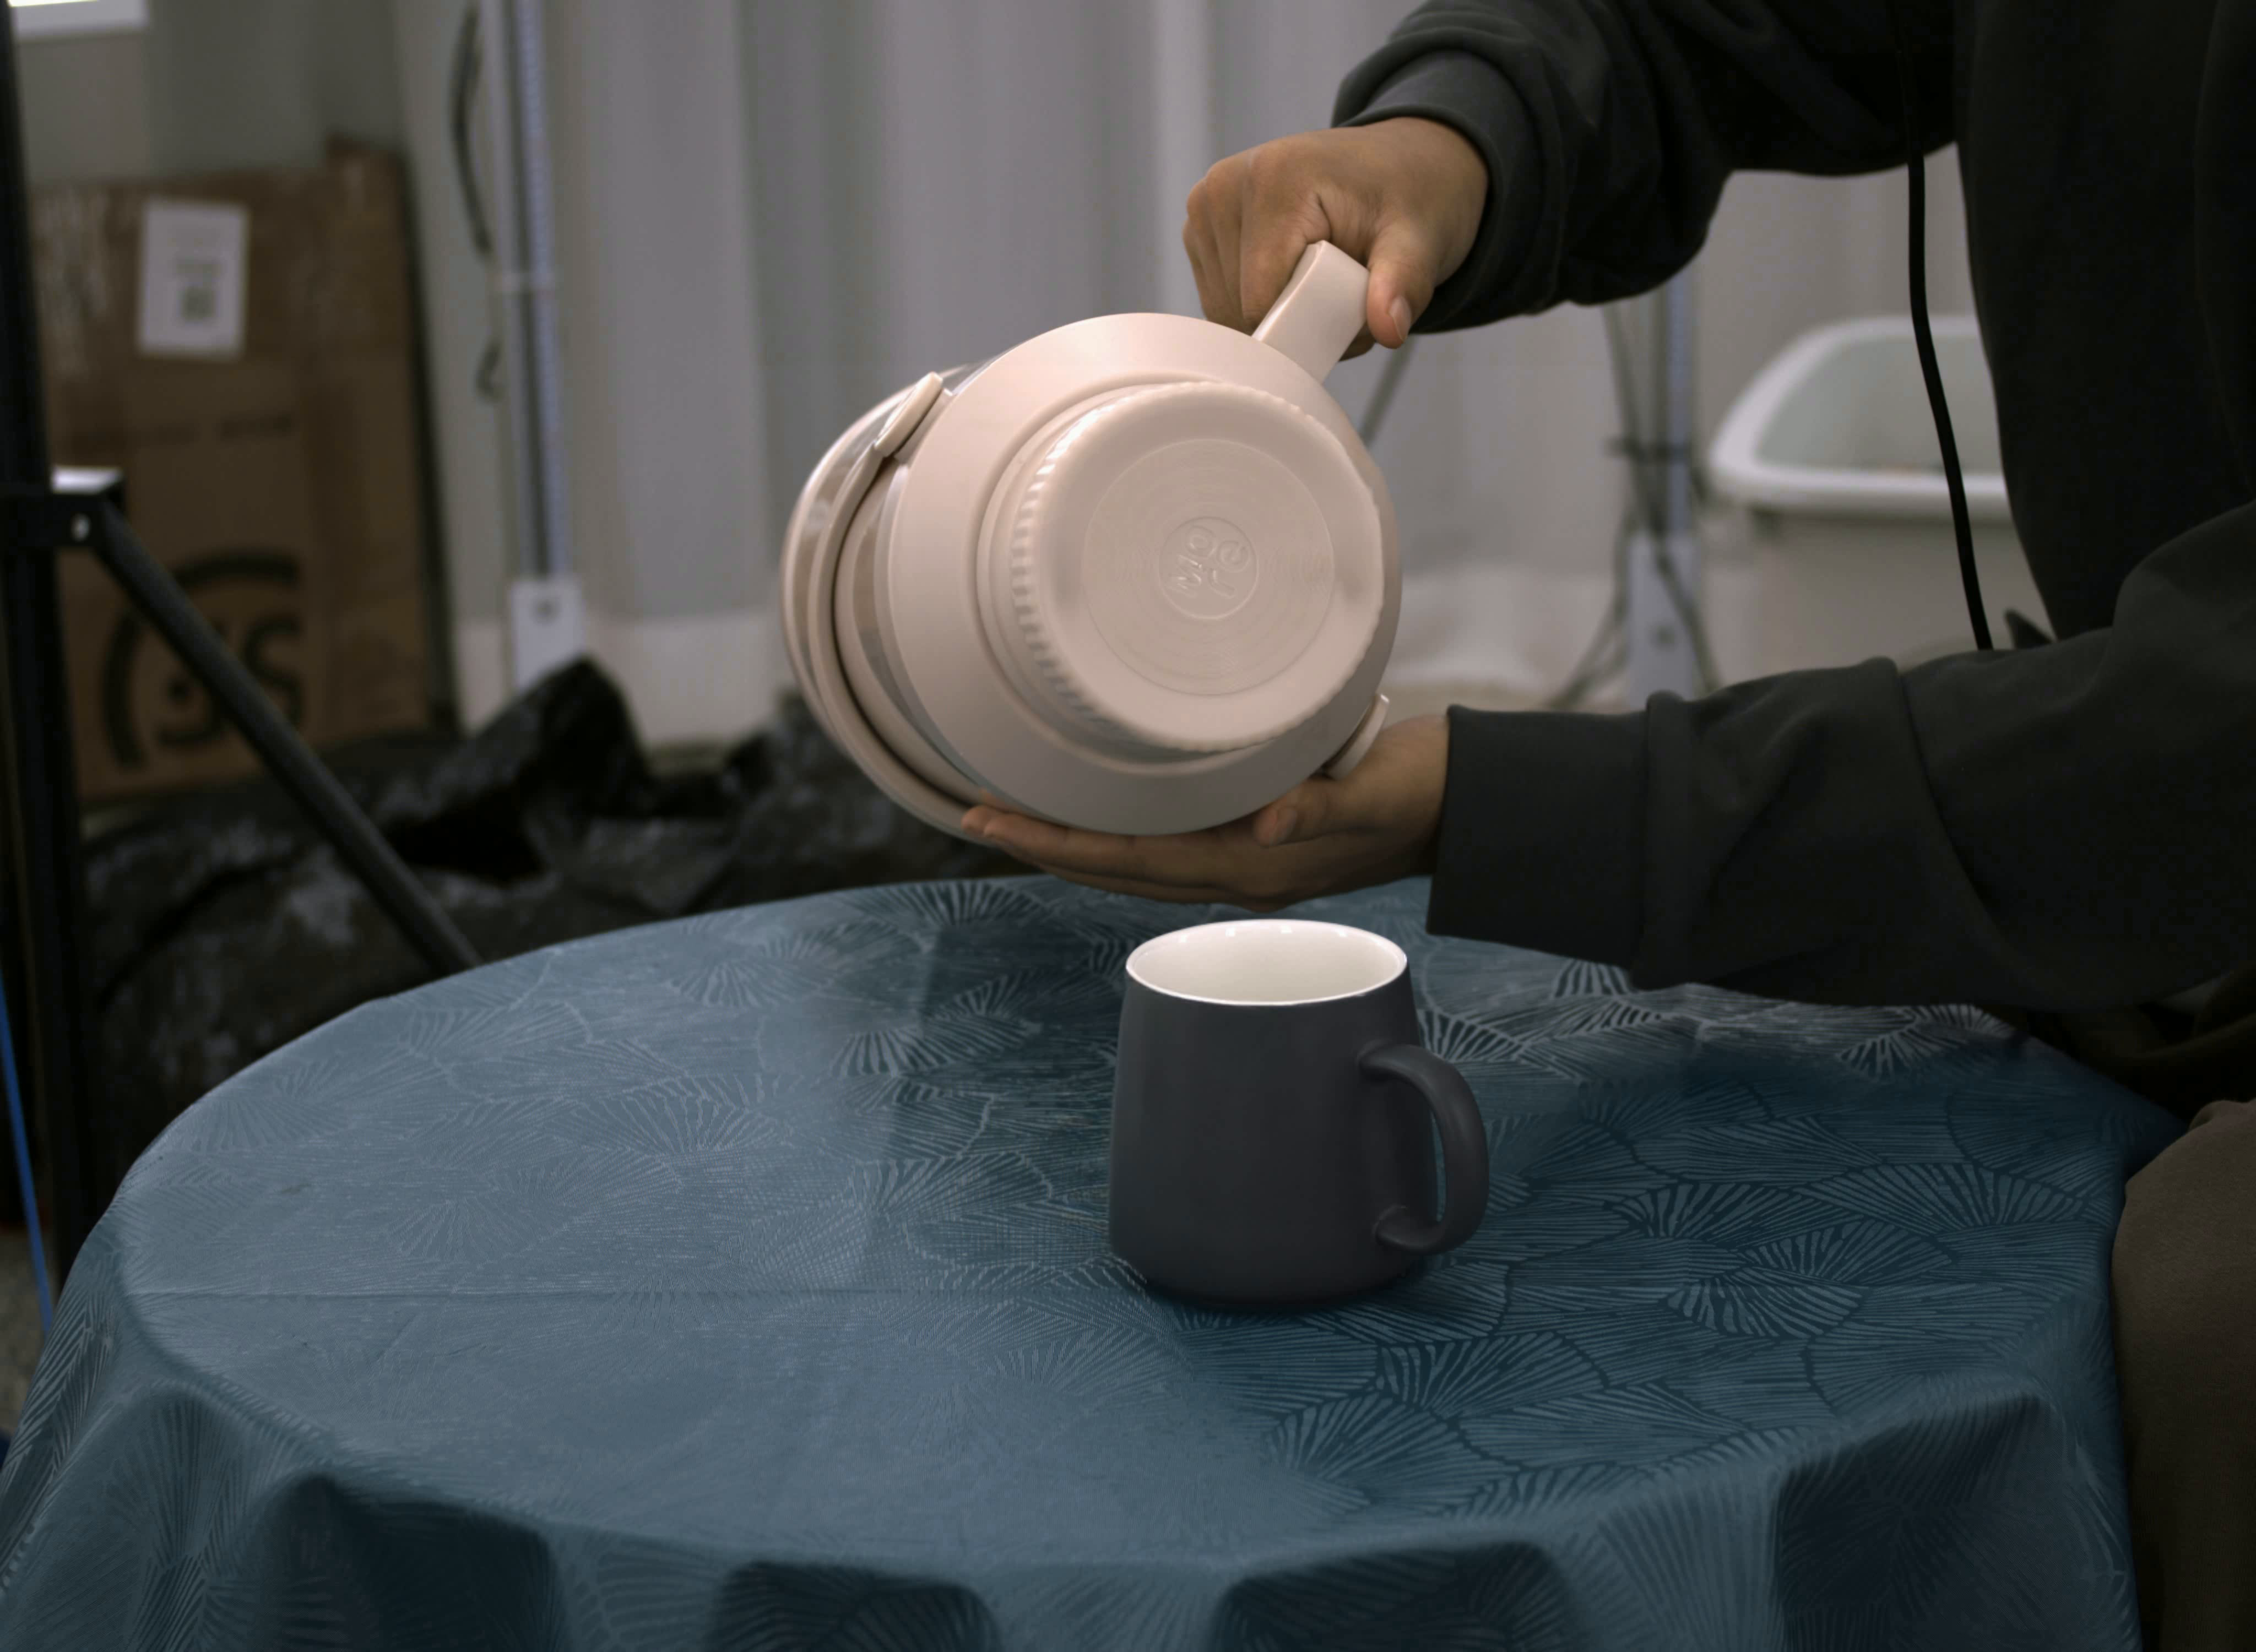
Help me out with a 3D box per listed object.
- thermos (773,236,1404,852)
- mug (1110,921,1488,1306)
[{"bbox_3d":[-0.002,-0.088,1.678,0.174,0.207,0.409,35,-5,-8],"label":"thermos"},{"bbox_3d":[0.051,0.083,1.471,0.091,0.090,0.126,-15,20,-40],"label":"mug"}]
